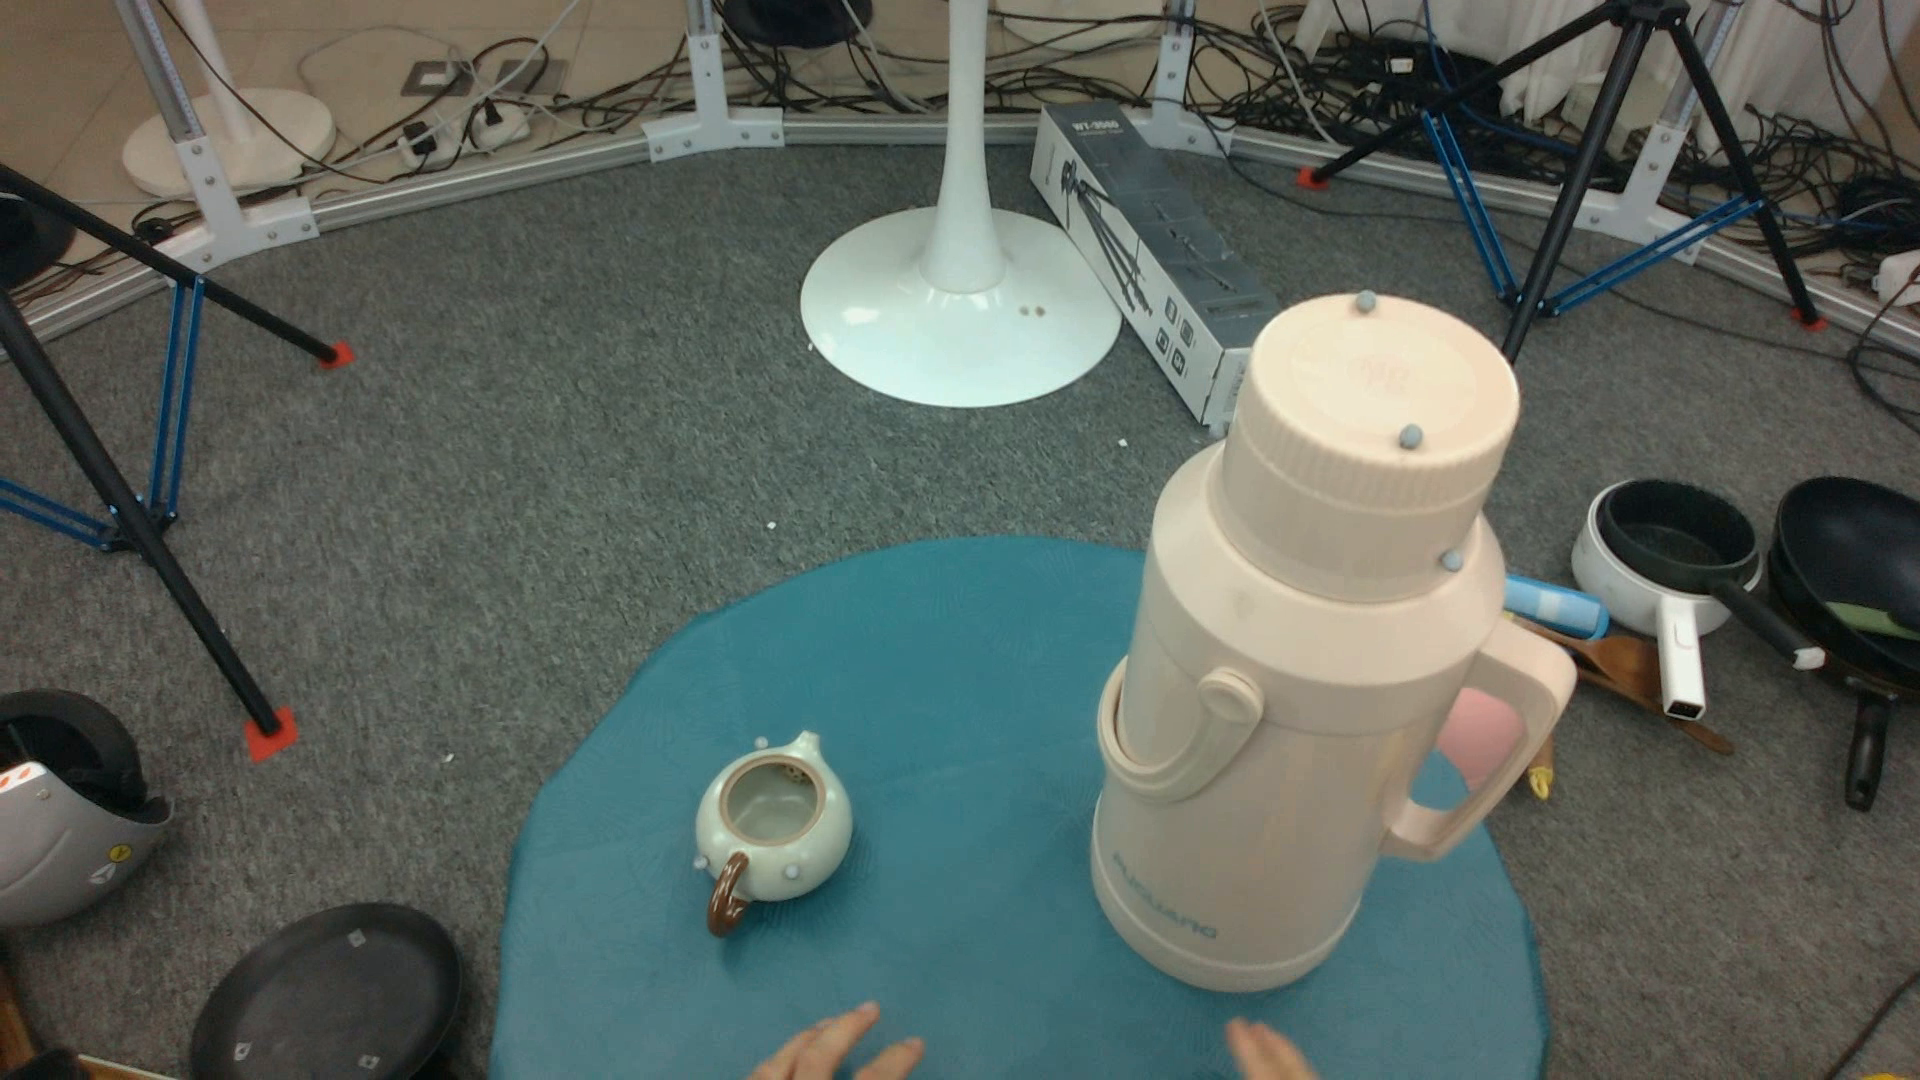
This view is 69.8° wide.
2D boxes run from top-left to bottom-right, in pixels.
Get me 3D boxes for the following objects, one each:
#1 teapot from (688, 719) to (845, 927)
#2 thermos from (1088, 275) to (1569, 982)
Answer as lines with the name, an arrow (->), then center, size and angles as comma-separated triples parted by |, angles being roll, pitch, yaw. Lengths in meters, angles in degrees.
teapot -> -0.117, 0.168, 0.808 | 0.092, 0.059, 0.129 | 18, 49, 9
thermos -> 0.171, 0.068, 0.685 | 0.207, 0.404, 0.176 | 26, 51, 21
